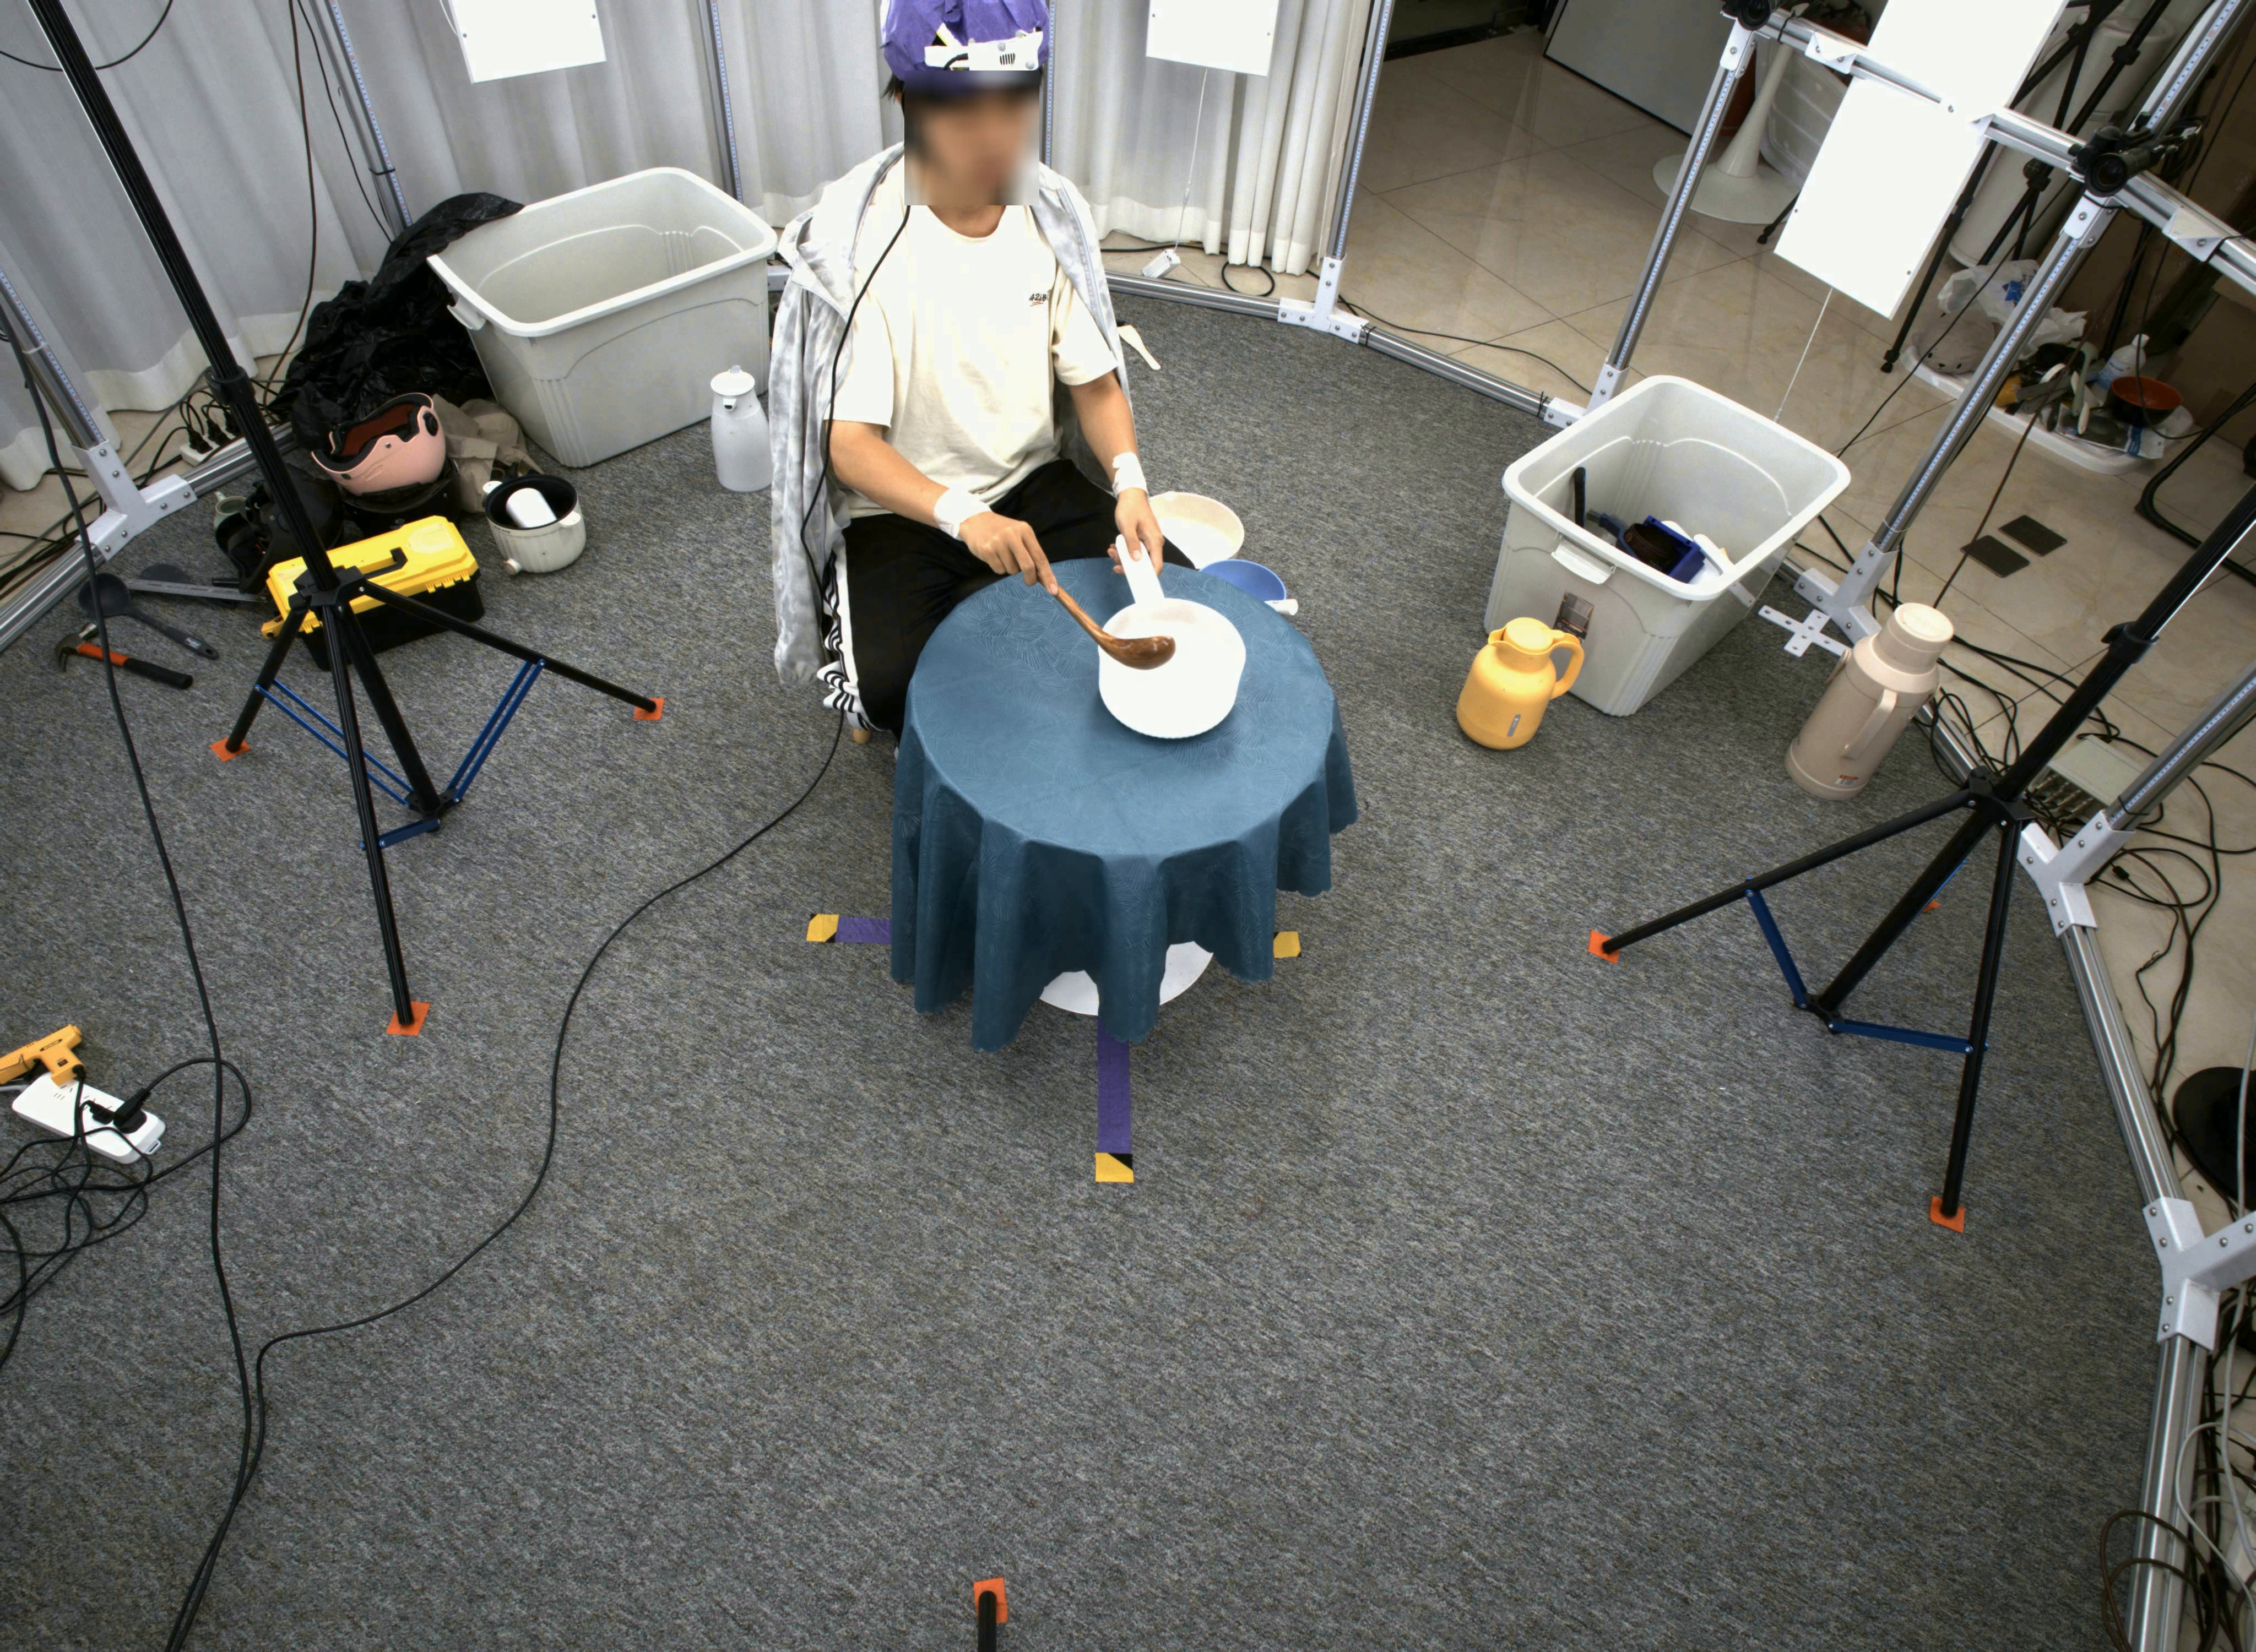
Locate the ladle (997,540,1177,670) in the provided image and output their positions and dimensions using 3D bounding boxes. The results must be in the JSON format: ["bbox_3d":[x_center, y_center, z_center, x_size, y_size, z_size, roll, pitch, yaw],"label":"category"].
[{"bbox_3d":[-0.051,-0.307,1.720,0.275,0.081,0.077,44,69,7],"label":"ladle"}]

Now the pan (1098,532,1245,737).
[{"bbox_3d":[0.041,-0.274,1.838,0.201,0.099,0.364,-8,49,-10],"label":"pan"}]
